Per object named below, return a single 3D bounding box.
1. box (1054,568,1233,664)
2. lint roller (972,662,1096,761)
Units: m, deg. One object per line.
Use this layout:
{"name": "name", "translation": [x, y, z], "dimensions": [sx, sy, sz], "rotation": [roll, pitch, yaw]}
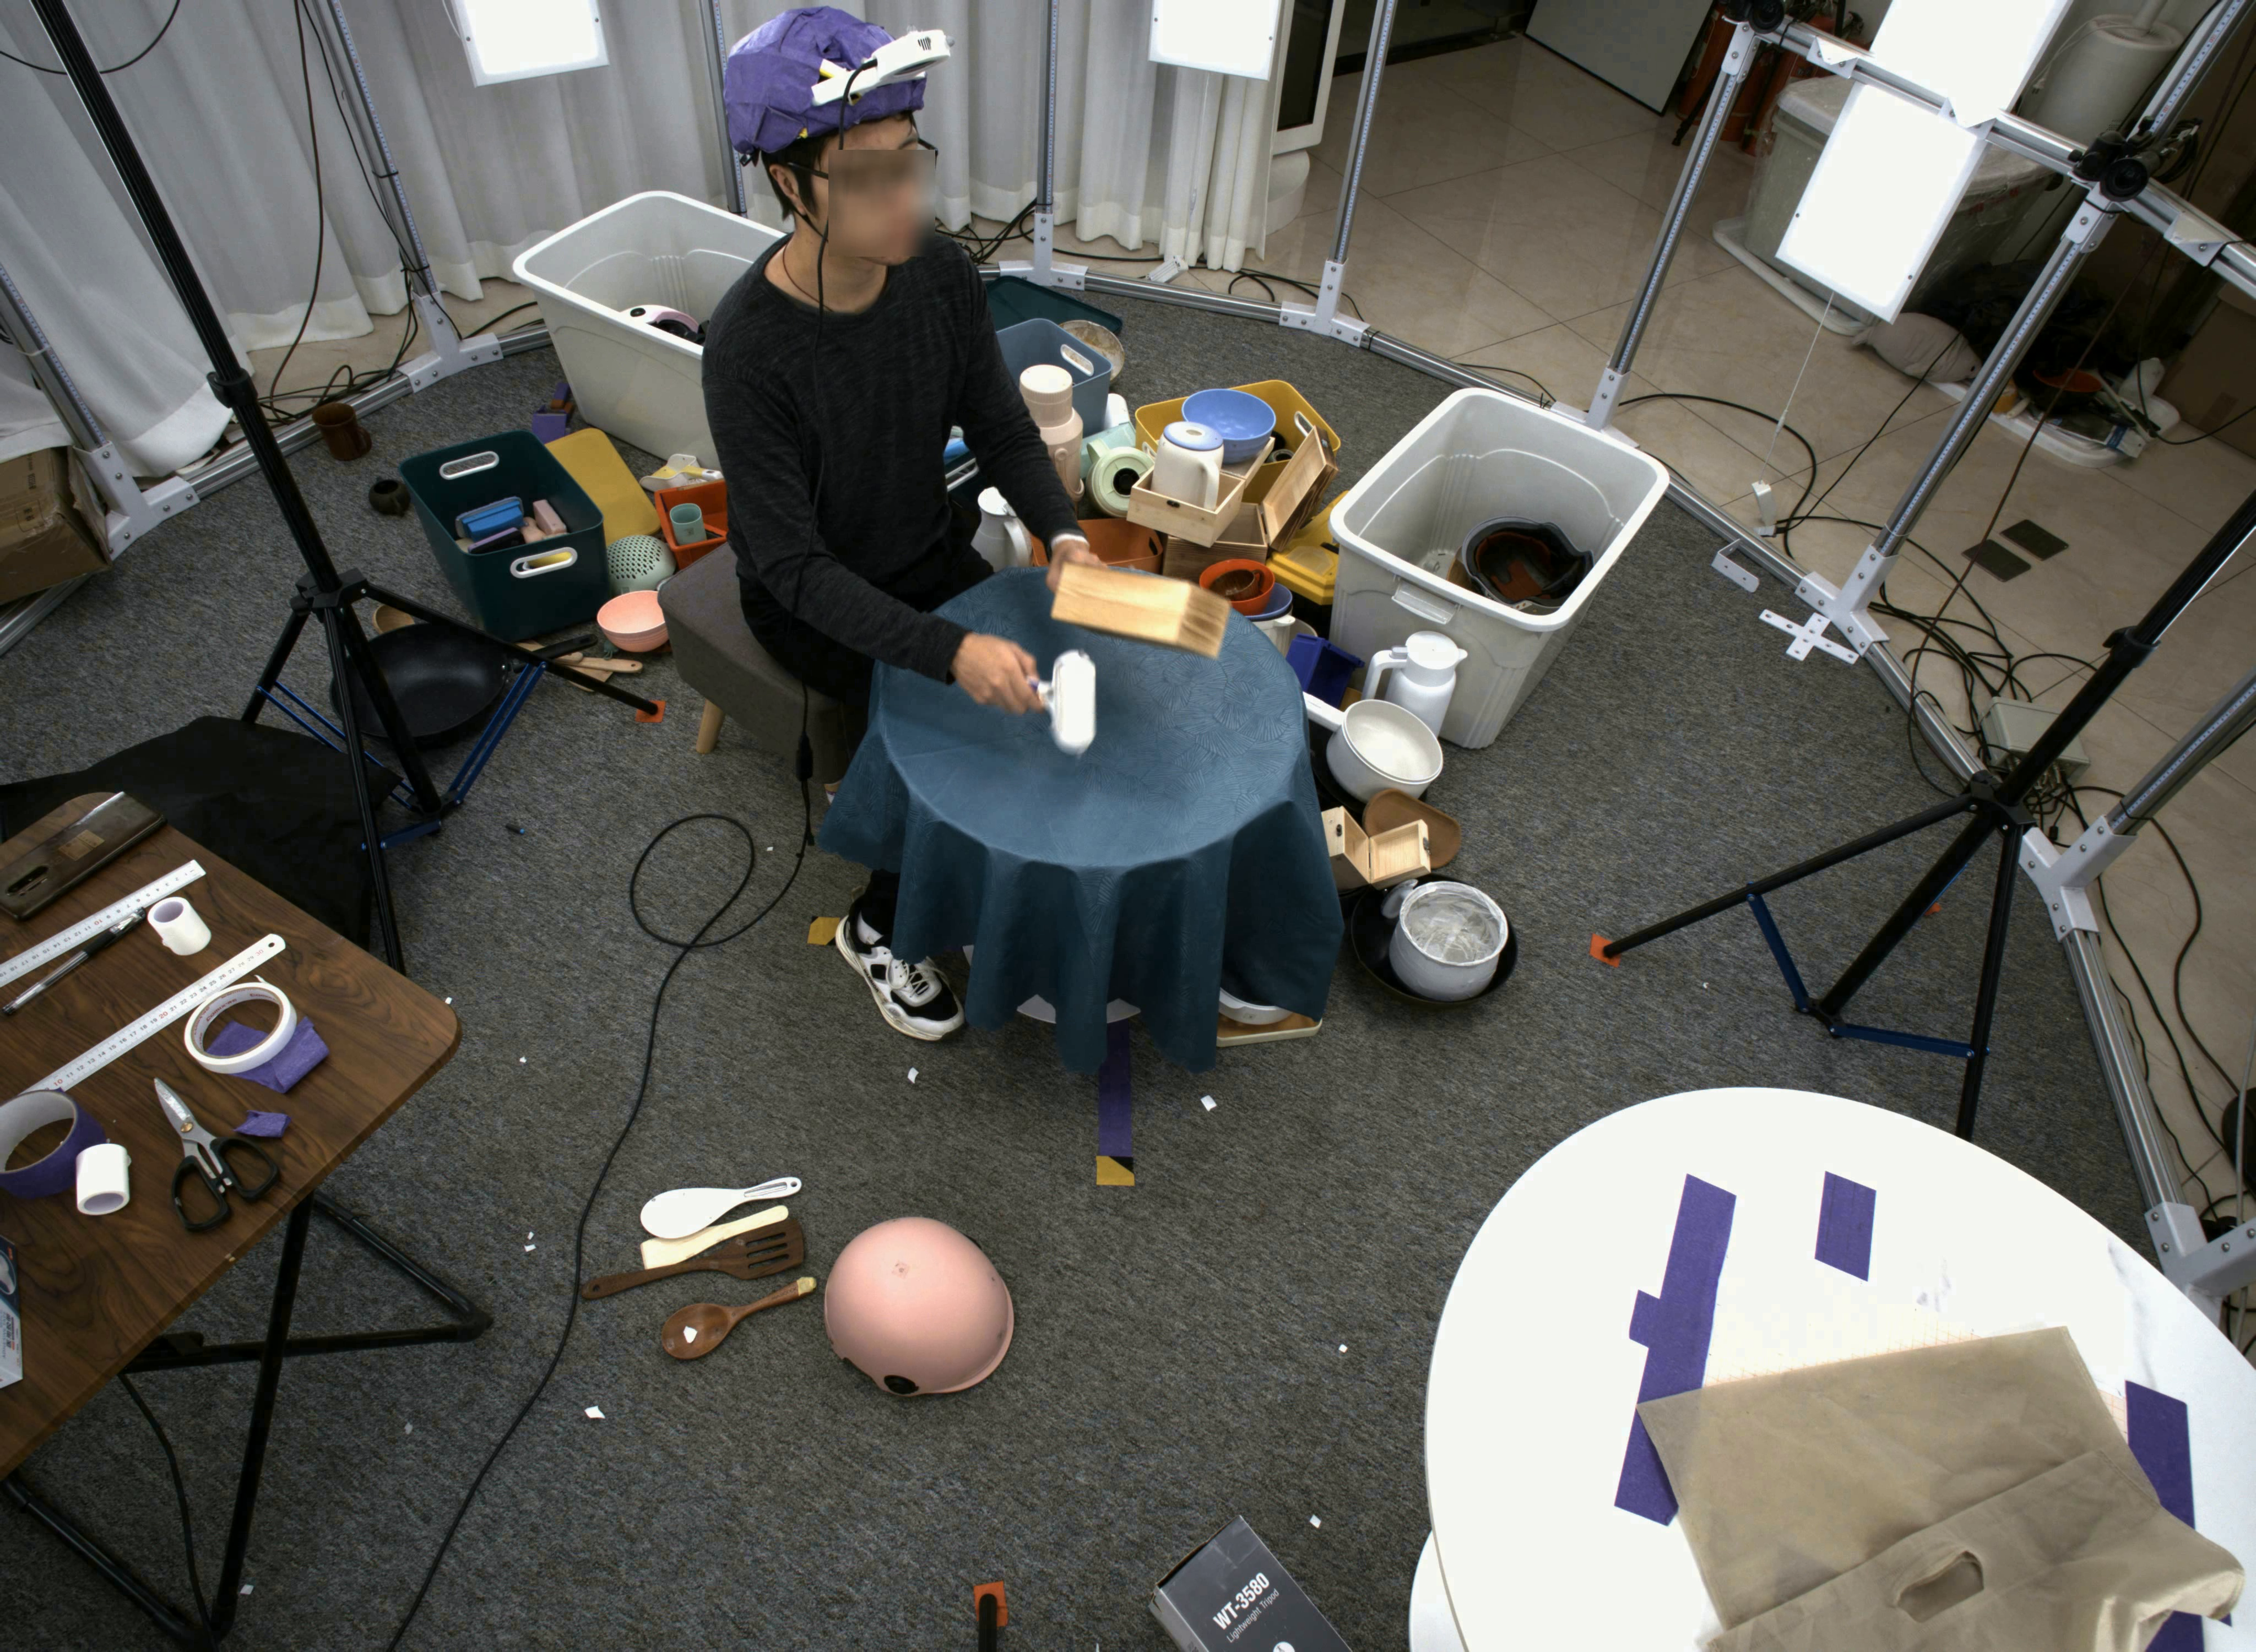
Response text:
{"name": "box", "translation": [0.020, -0.283, 1.733], "dimensions": [0.213, 0.080, 0.106], "rotation": [17, 4, 34]}
{"name": "lint roller", "translation": [-0.130, -0.166, 1.691], "dimensions": [0.182, 0.130, 0.051], "rotation": [16, 29, 14]}
